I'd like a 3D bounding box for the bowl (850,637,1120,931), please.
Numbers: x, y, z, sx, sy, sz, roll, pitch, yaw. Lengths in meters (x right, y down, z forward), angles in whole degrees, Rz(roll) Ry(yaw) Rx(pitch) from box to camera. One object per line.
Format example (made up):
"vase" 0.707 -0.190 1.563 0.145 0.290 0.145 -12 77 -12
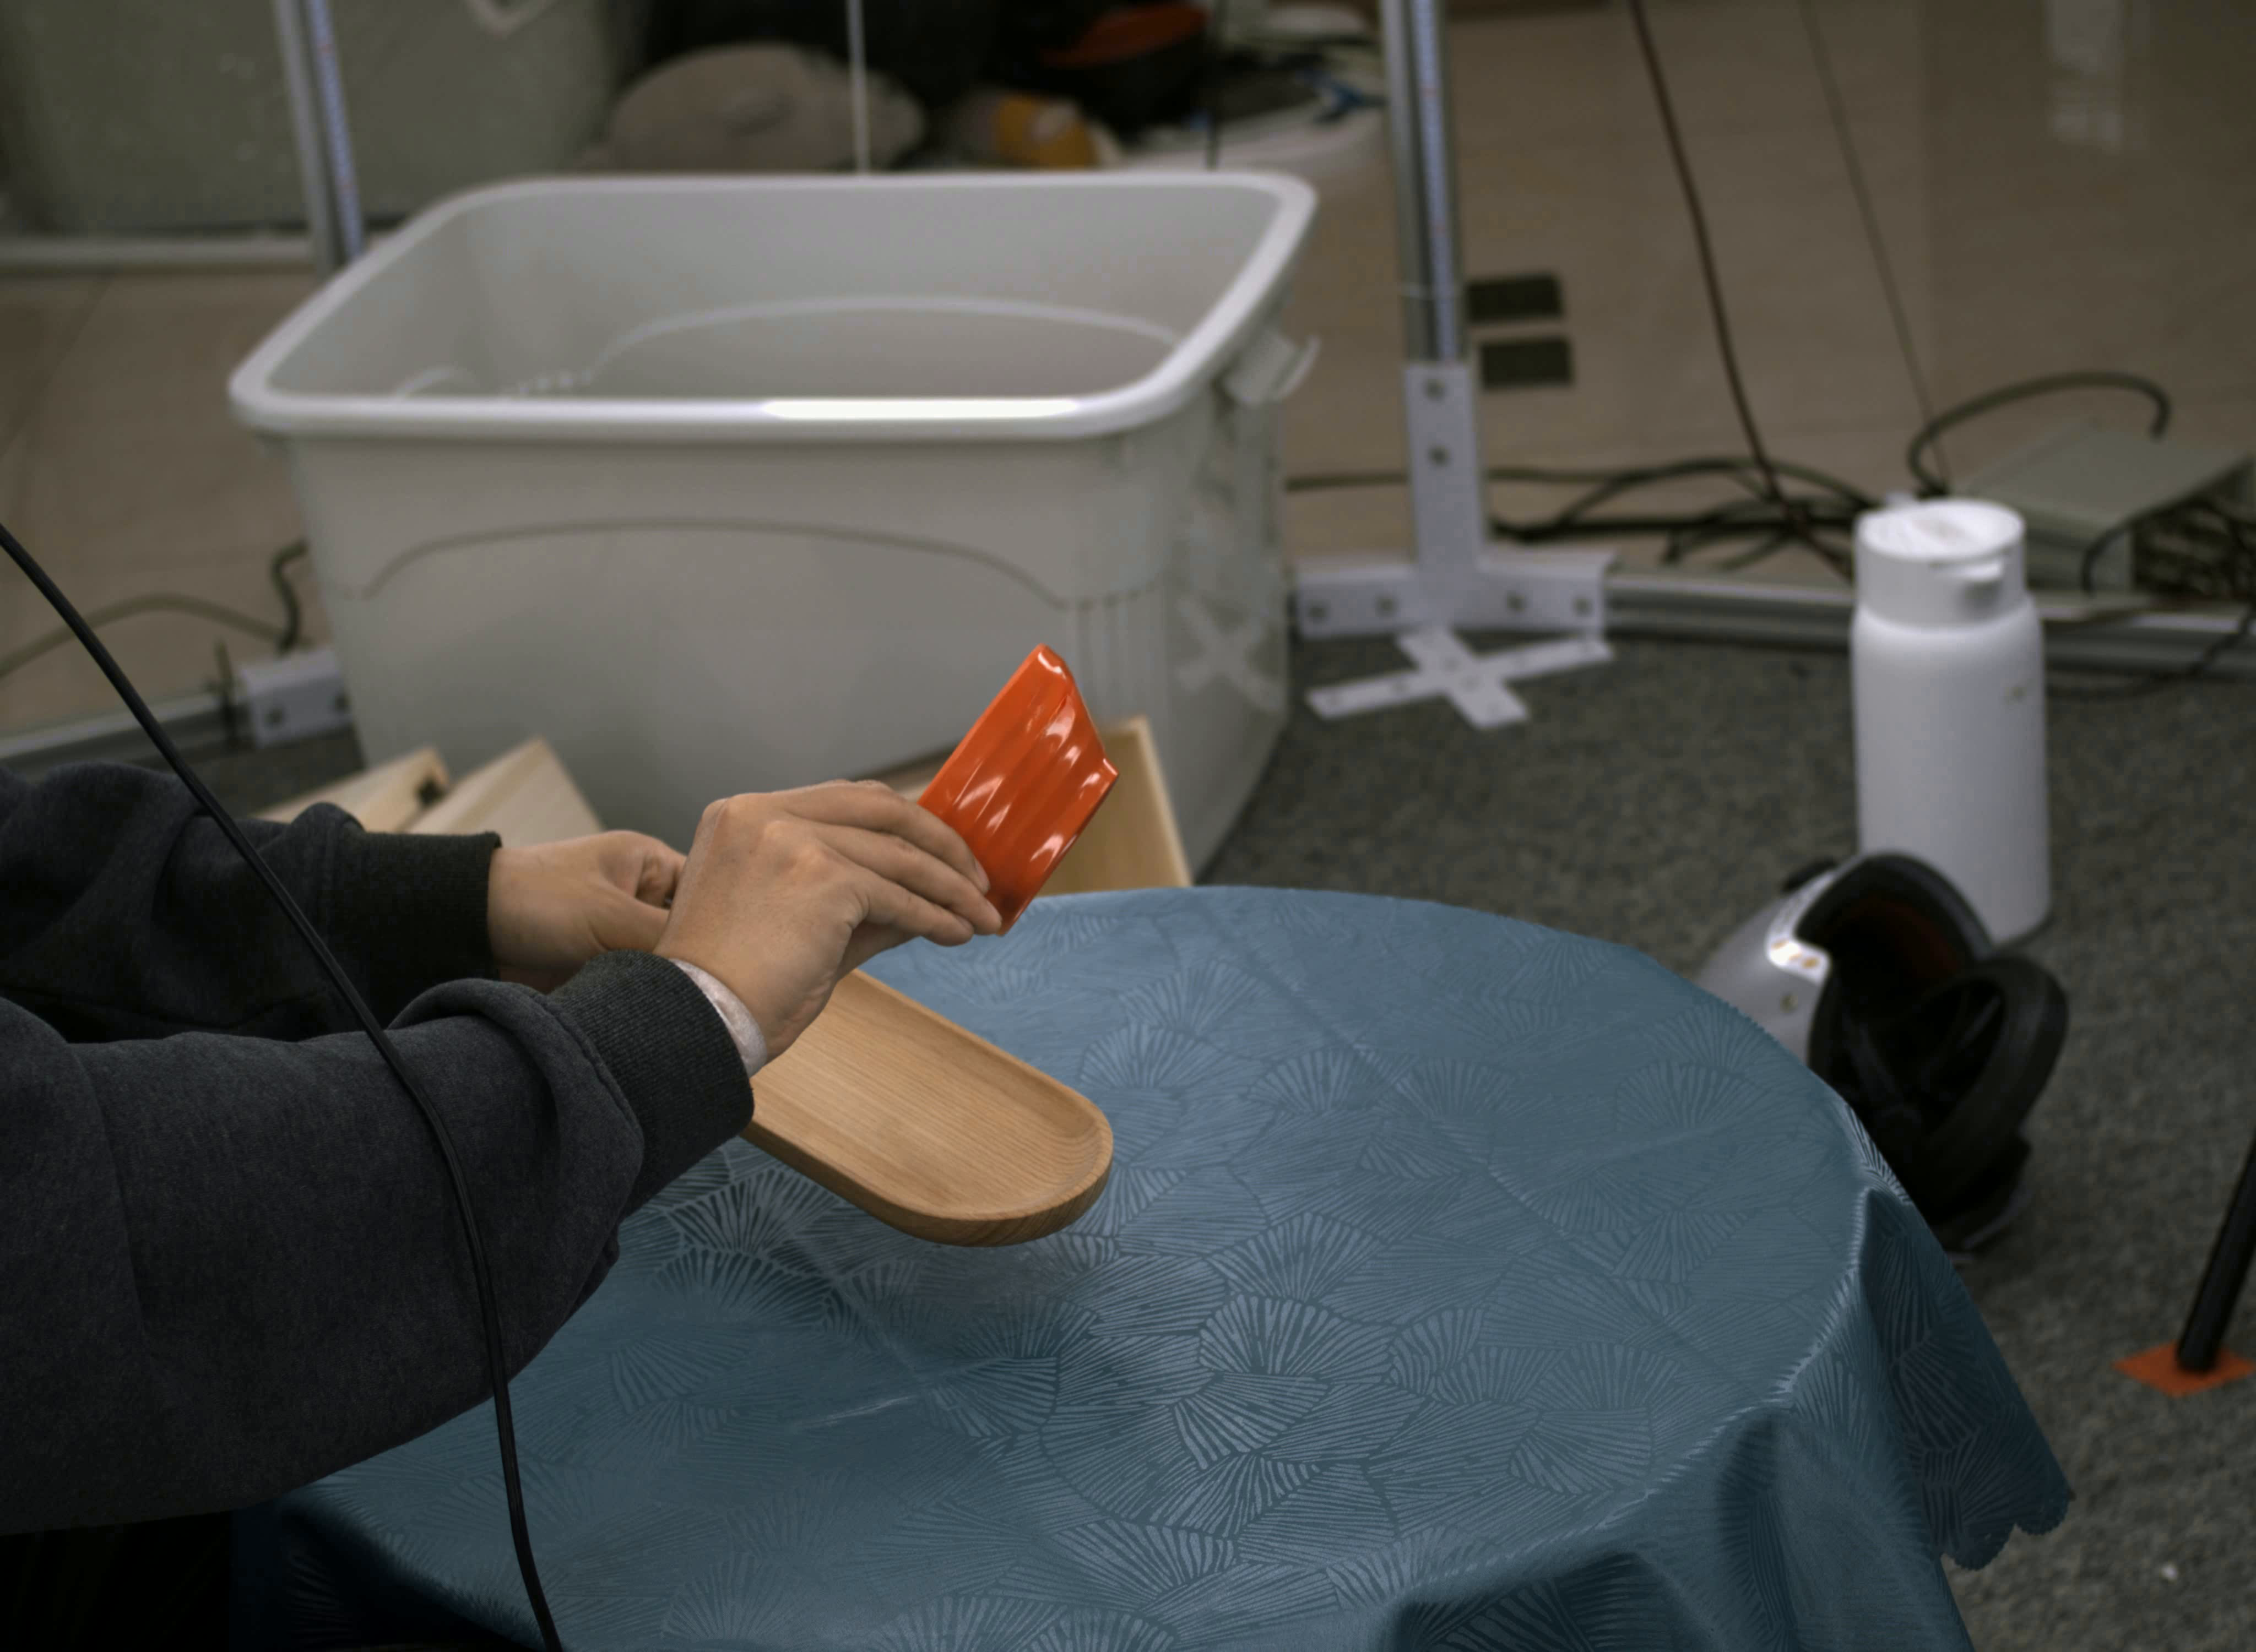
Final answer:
"bowl" -0.045 -0.006 1.997 0.051 0.120 0.117 38 33 0

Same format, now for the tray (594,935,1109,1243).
"tray" -0.105 0.097 2.119 0.229 0.020 0.101 25 38 36
